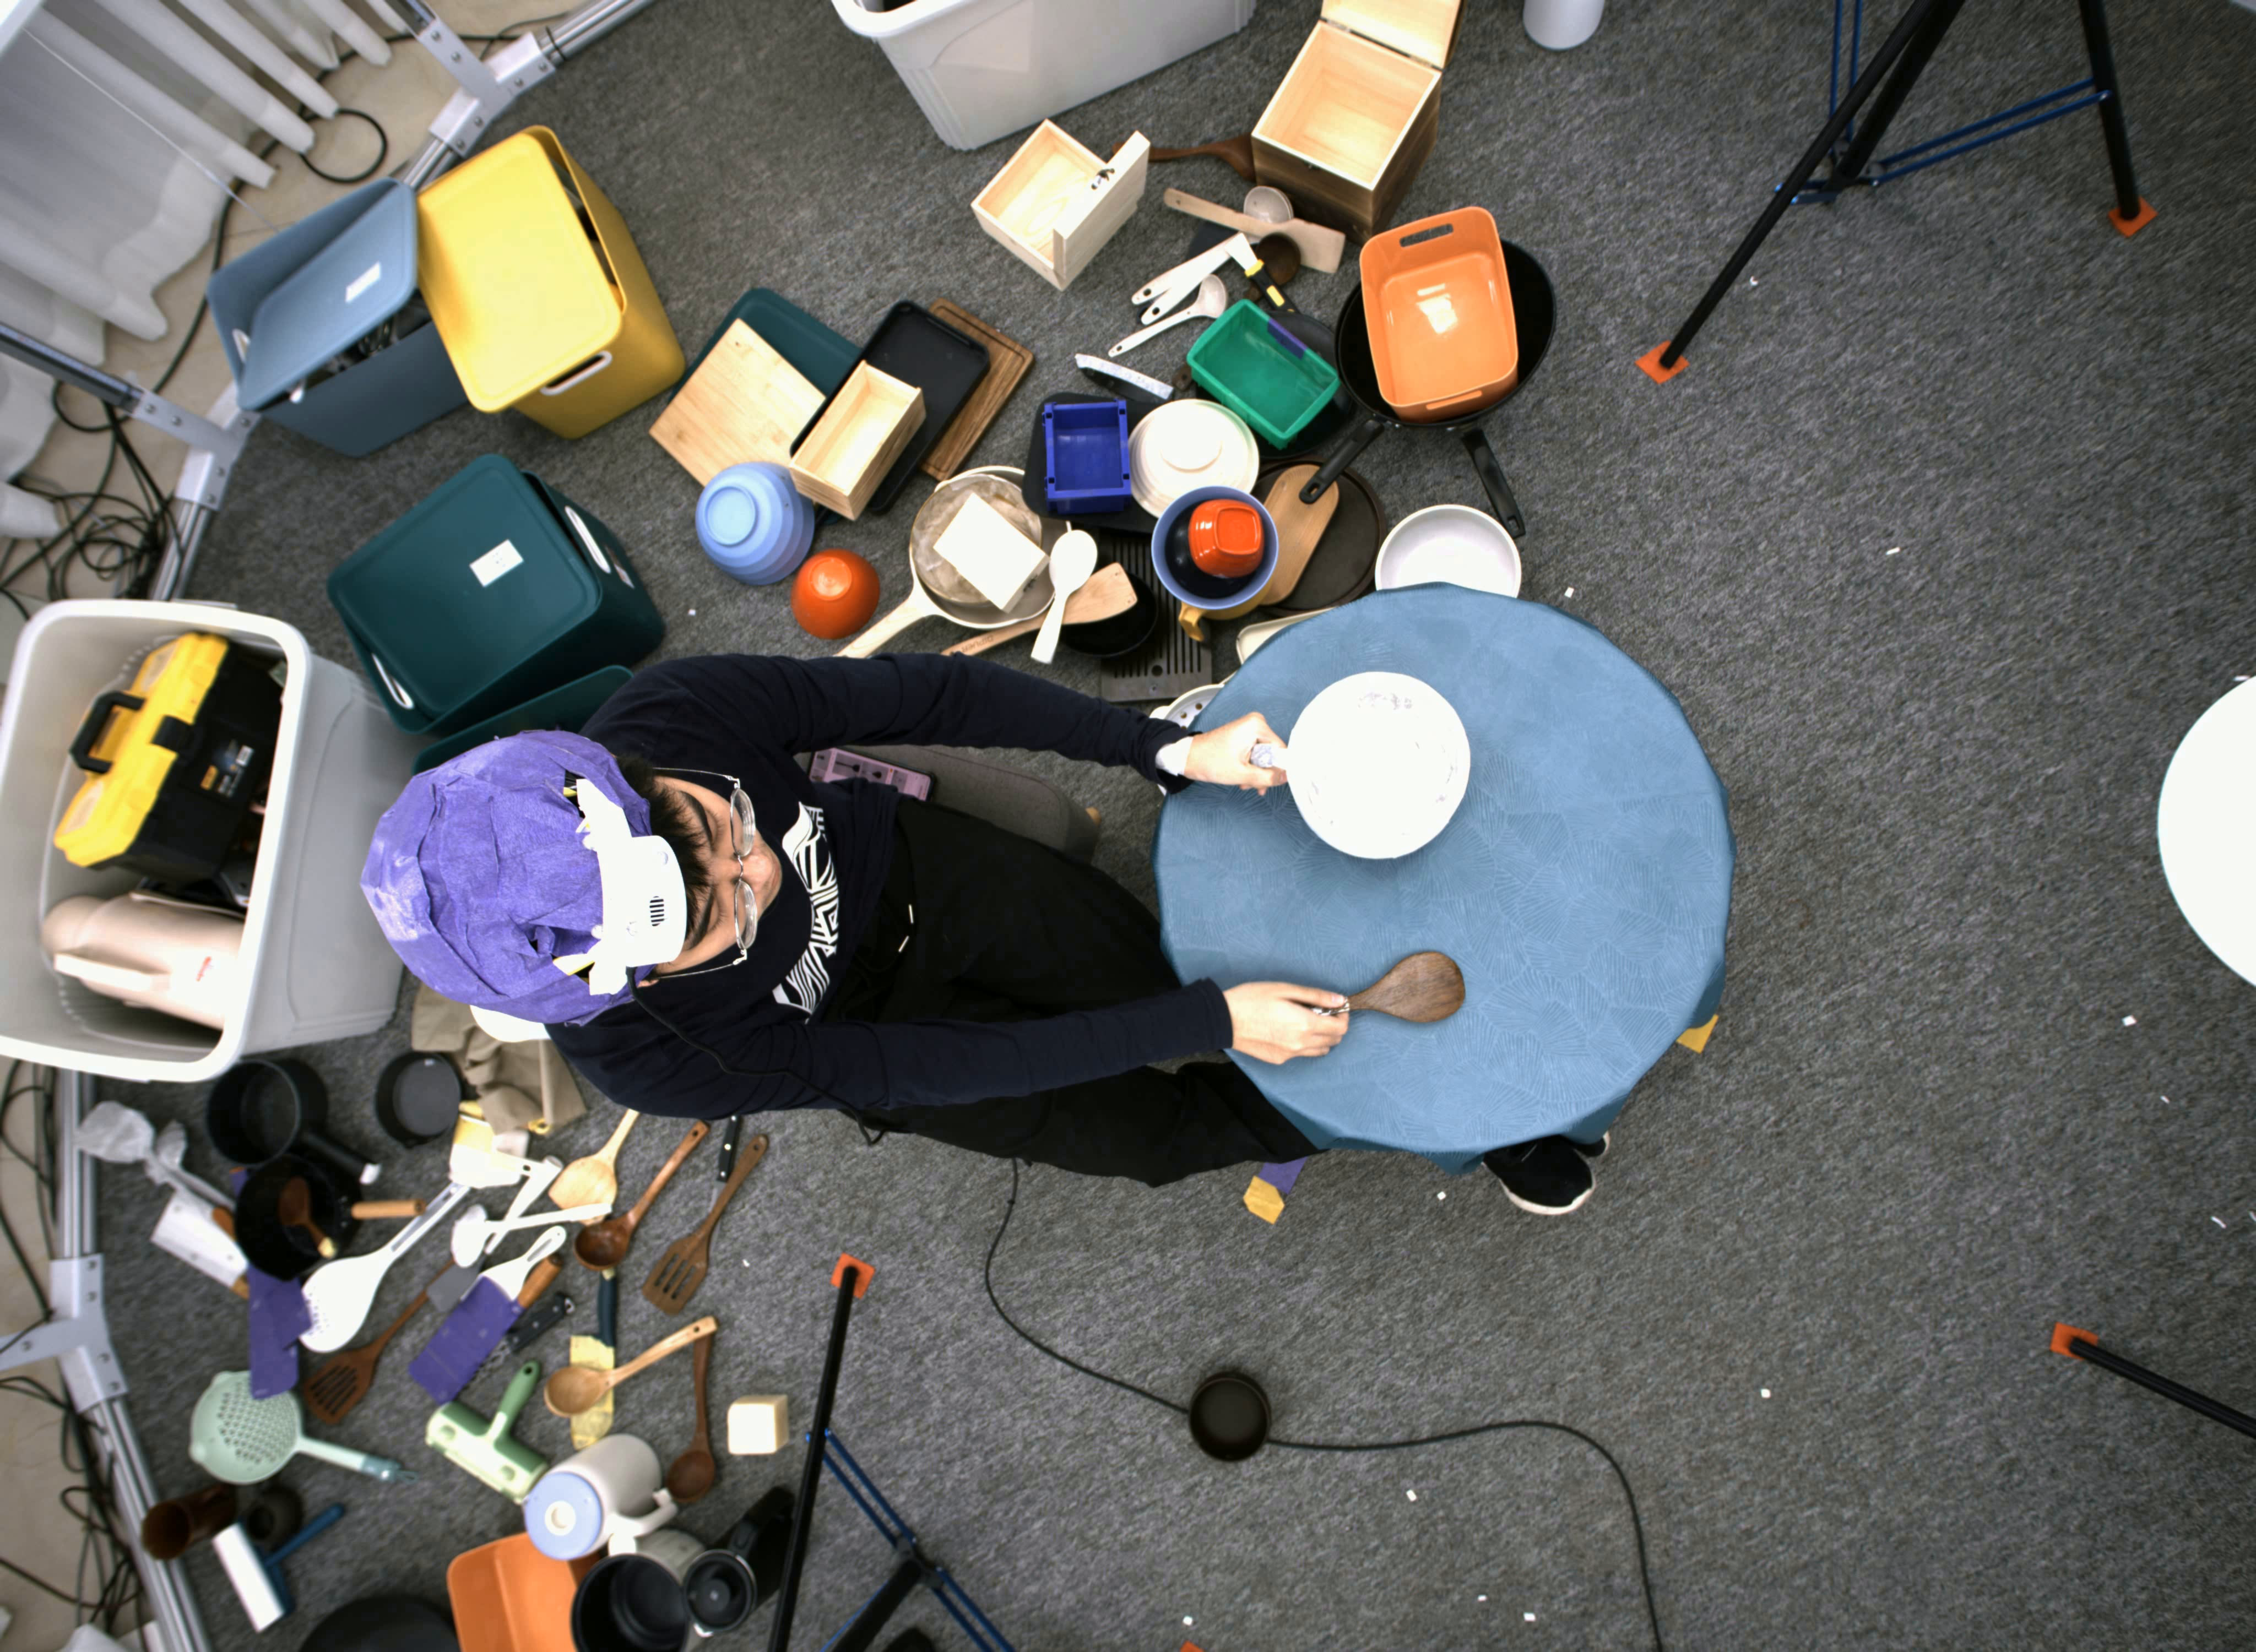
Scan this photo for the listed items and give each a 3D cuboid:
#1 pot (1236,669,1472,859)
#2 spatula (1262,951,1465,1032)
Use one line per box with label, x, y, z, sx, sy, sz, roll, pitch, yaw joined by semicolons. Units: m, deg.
pot;0.225;-0.060;1.402;0.234;0.137;0.178;3;85;9
spatula;0.244;0.180;1.442;0.216;0.009;0.071;-13;75;3
